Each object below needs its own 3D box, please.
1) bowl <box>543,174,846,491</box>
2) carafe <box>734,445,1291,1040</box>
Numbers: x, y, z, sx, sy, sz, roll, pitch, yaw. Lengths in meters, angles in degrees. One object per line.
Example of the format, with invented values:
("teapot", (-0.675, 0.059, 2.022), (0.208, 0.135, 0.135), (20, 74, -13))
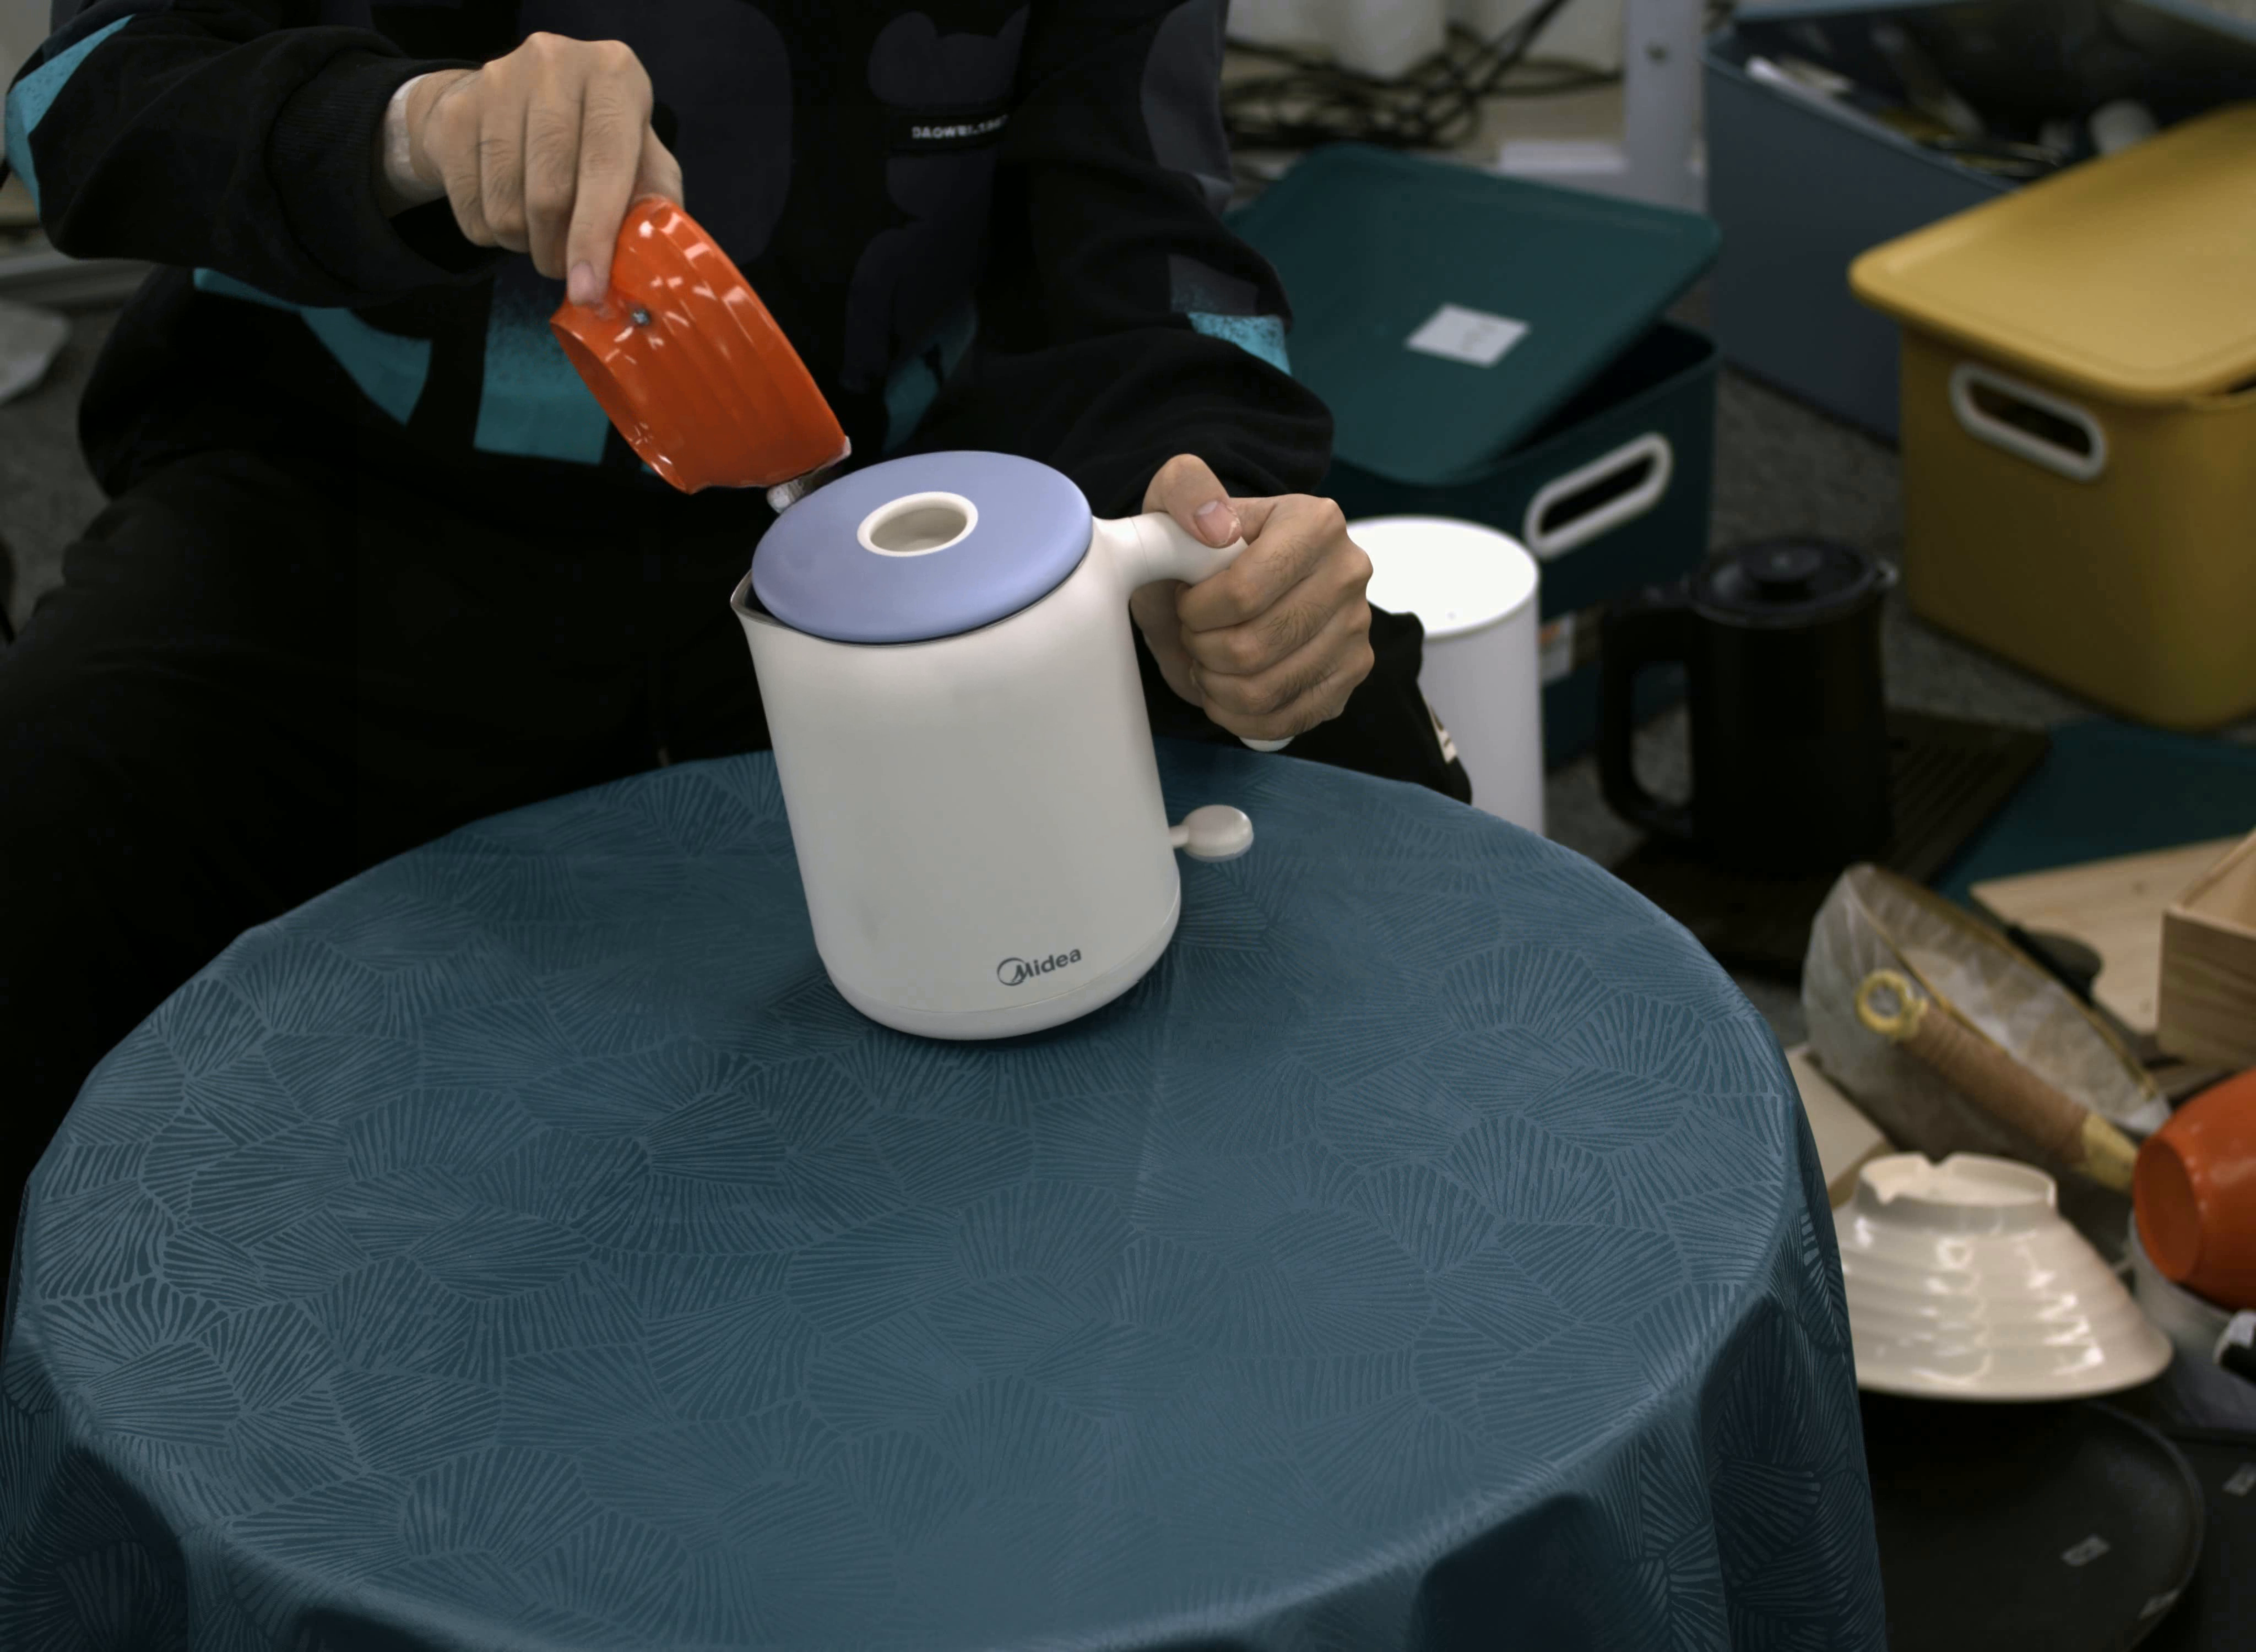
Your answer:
("bowl", (-0.148, -0.153, 1.839), (0.051, 0.118, 0.119), (-41, 35, -4))
("carafe", (-0.035, -0.035, 1.960), (0.191, 0.180, 0.133), (-15, 33, -12))
